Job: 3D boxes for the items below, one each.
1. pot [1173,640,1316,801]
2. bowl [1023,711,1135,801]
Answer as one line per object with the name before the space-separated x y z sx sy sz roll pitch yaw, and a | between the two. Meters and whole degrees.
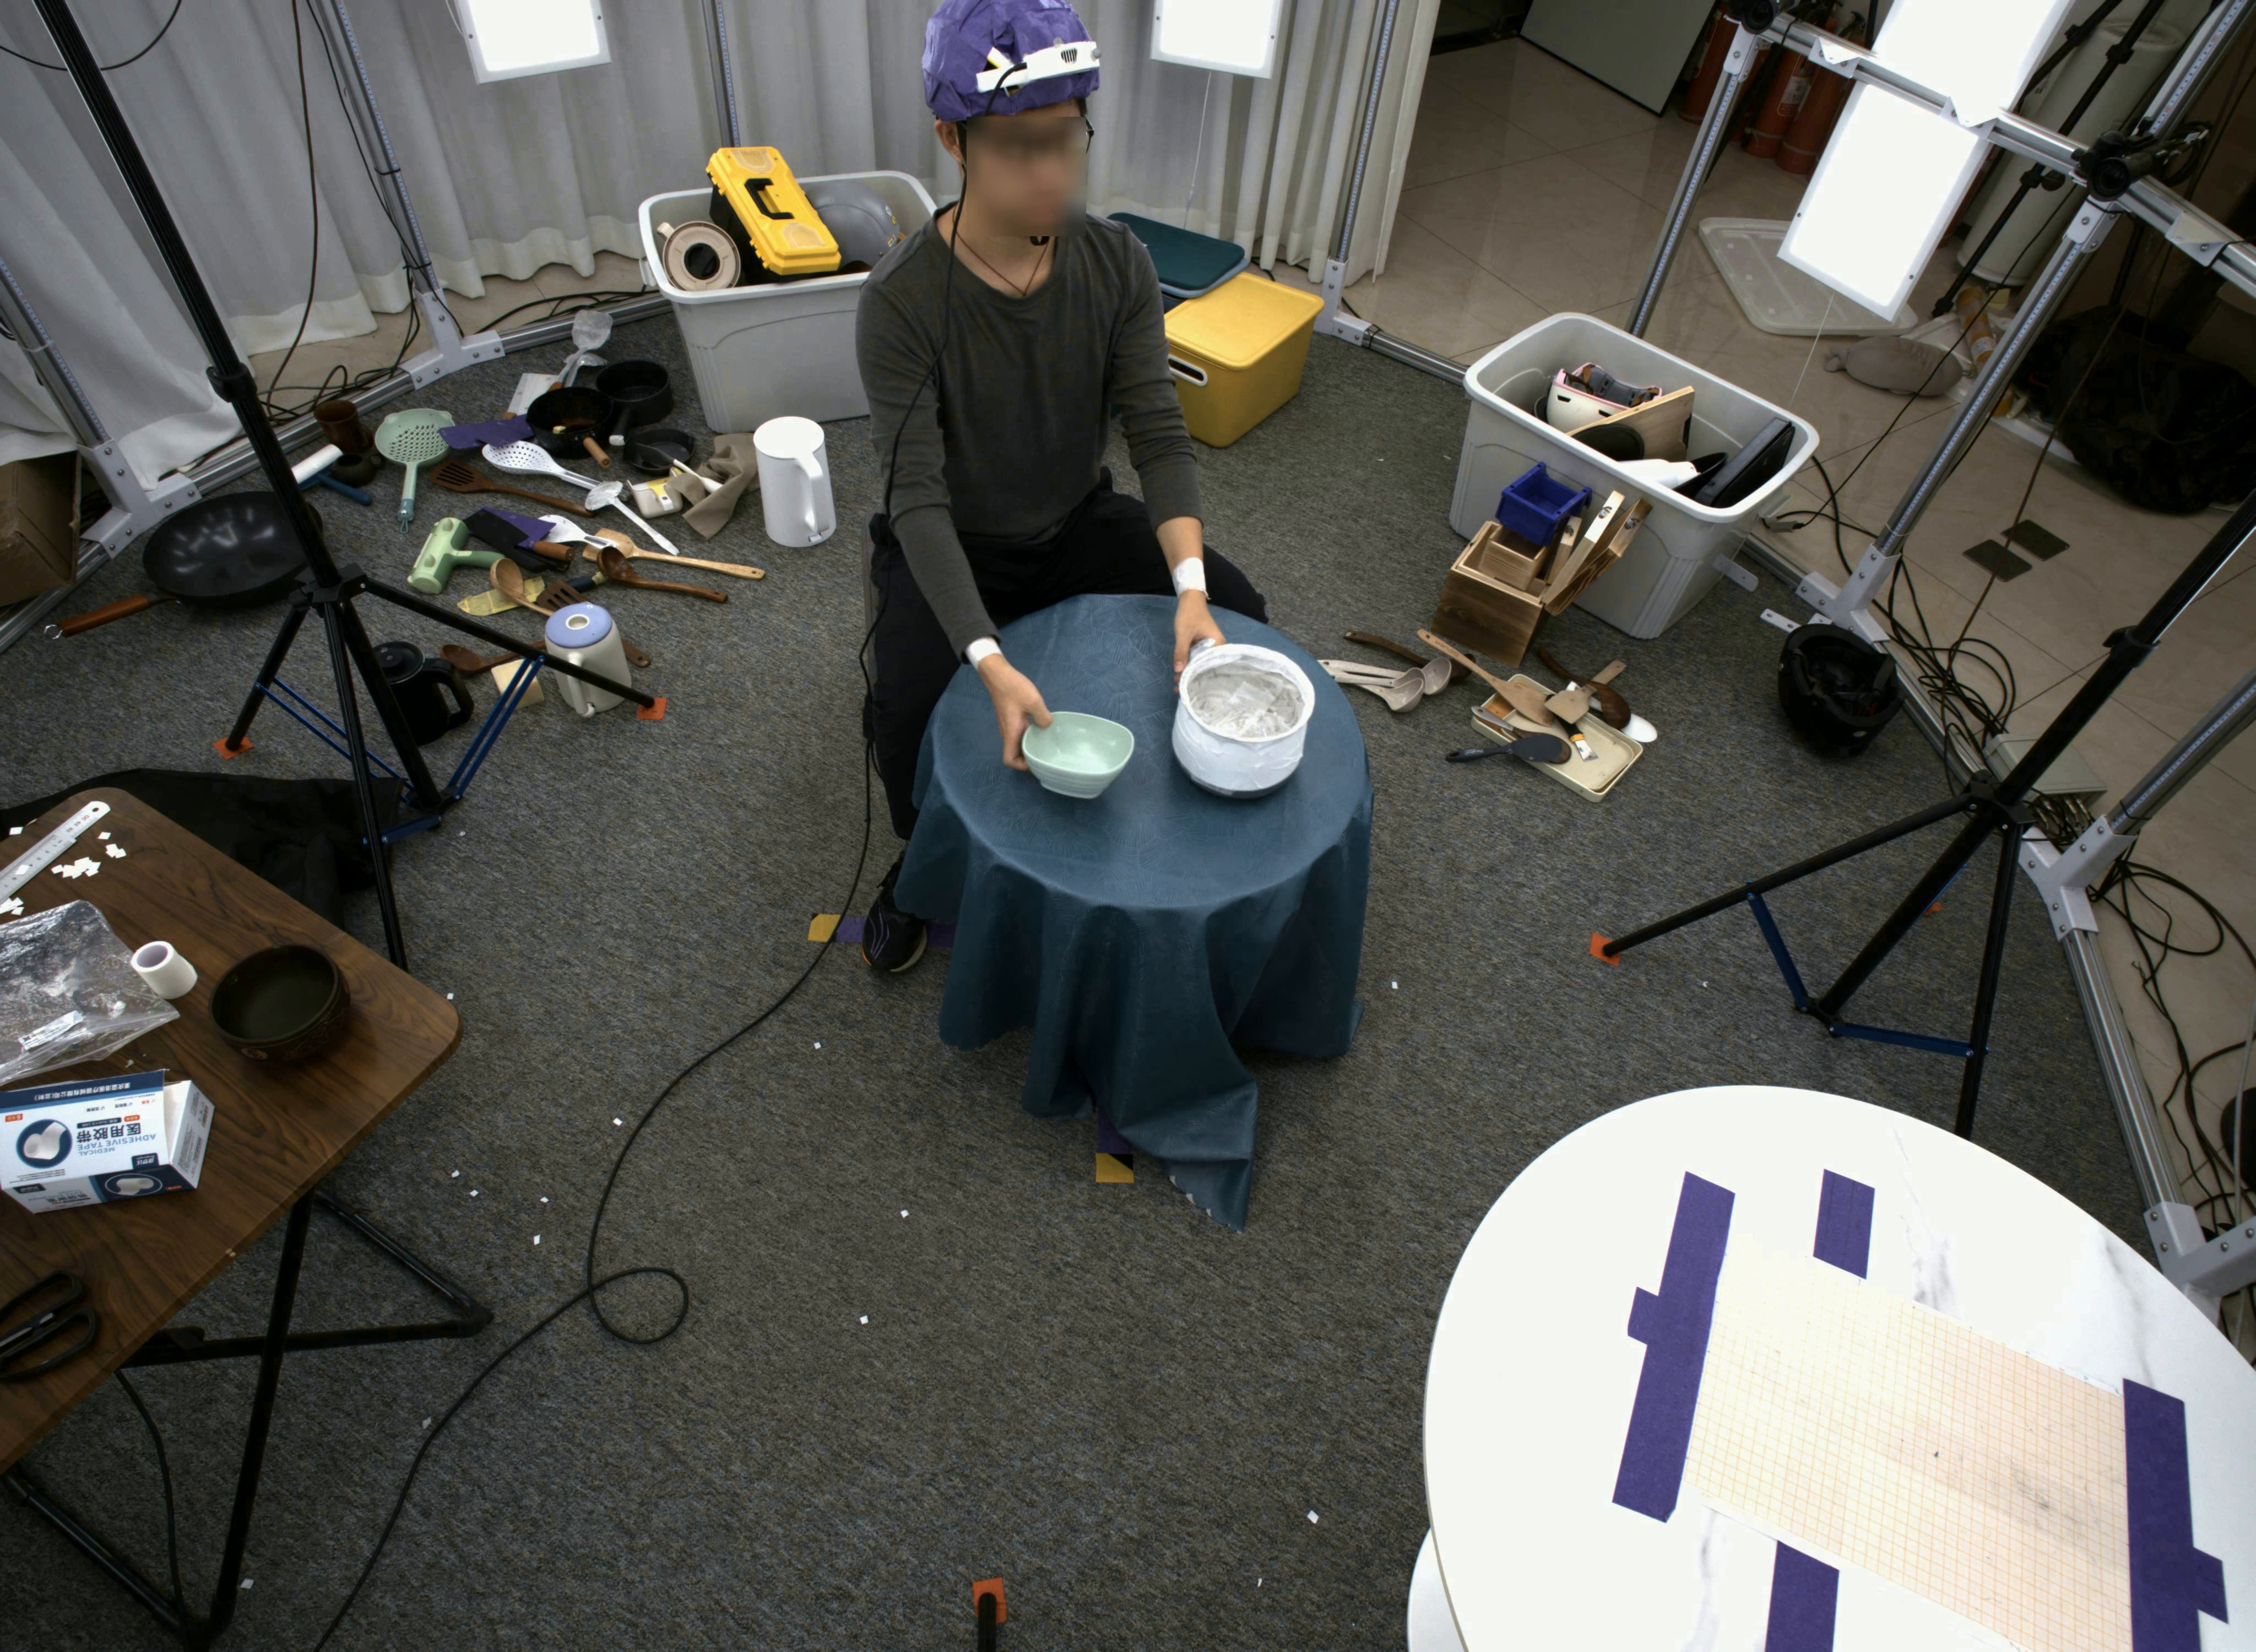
pot | 0.138 -0.152 1.720 0.179 0.133 0.239 -20 54 -20
bowl | -0.065 -0.083 1.651 0.151 0.057 0.155 6 37 -5
